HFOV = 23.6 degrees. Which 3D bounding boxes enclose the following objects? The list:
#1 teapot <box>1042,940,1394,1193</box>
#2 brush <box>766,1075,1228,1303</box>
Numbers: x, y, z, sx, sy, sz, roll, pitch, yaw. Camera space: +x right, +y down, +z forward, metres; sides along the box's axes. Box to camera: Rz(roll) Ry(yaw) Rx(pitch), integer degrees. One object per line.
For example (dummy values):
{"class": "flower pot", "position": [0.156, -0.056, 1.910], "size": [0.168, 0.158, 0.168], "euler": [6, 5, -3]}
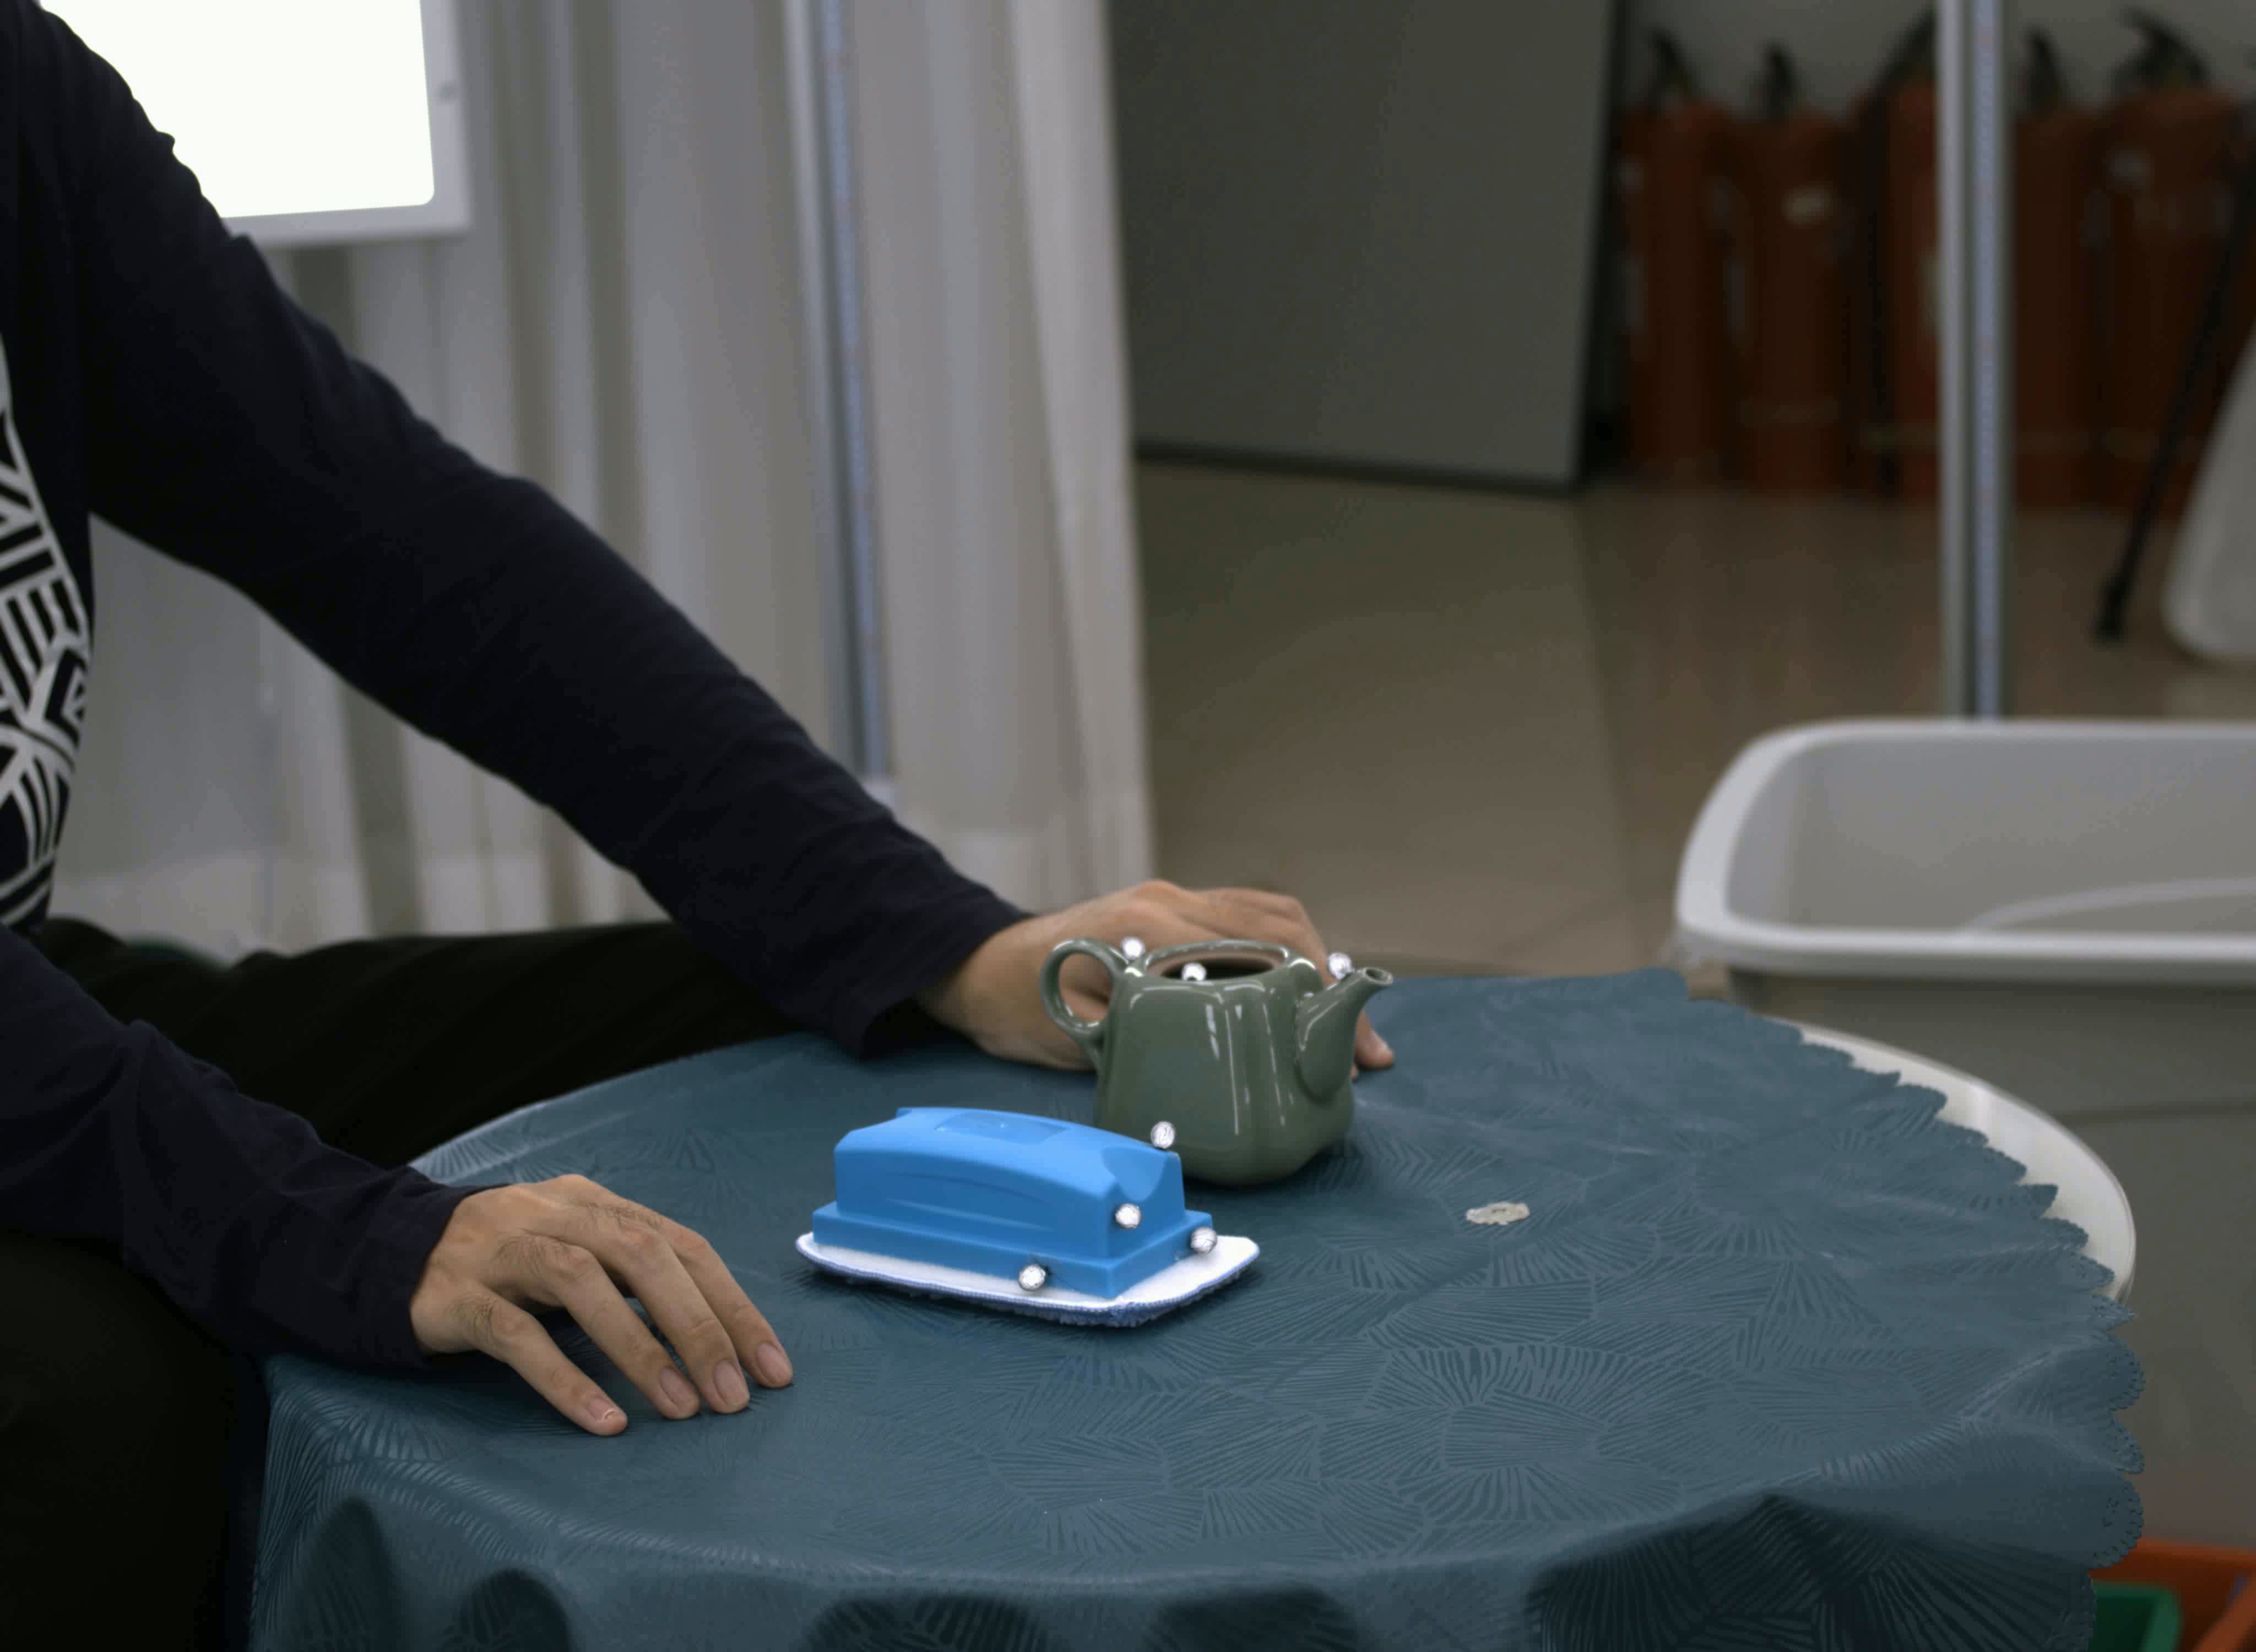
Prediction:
{"class": "teapot", "position": [0.032, 0.078, 1.791], "size": [0.133, 0.076, 0.078], "euler": [2, 15, 30]}
{"class": "brush", "position": [-0.041, 0.112, 1.694], "size": [0.145, 0.056, 0.082], "euler": [11, 16, 38]}
